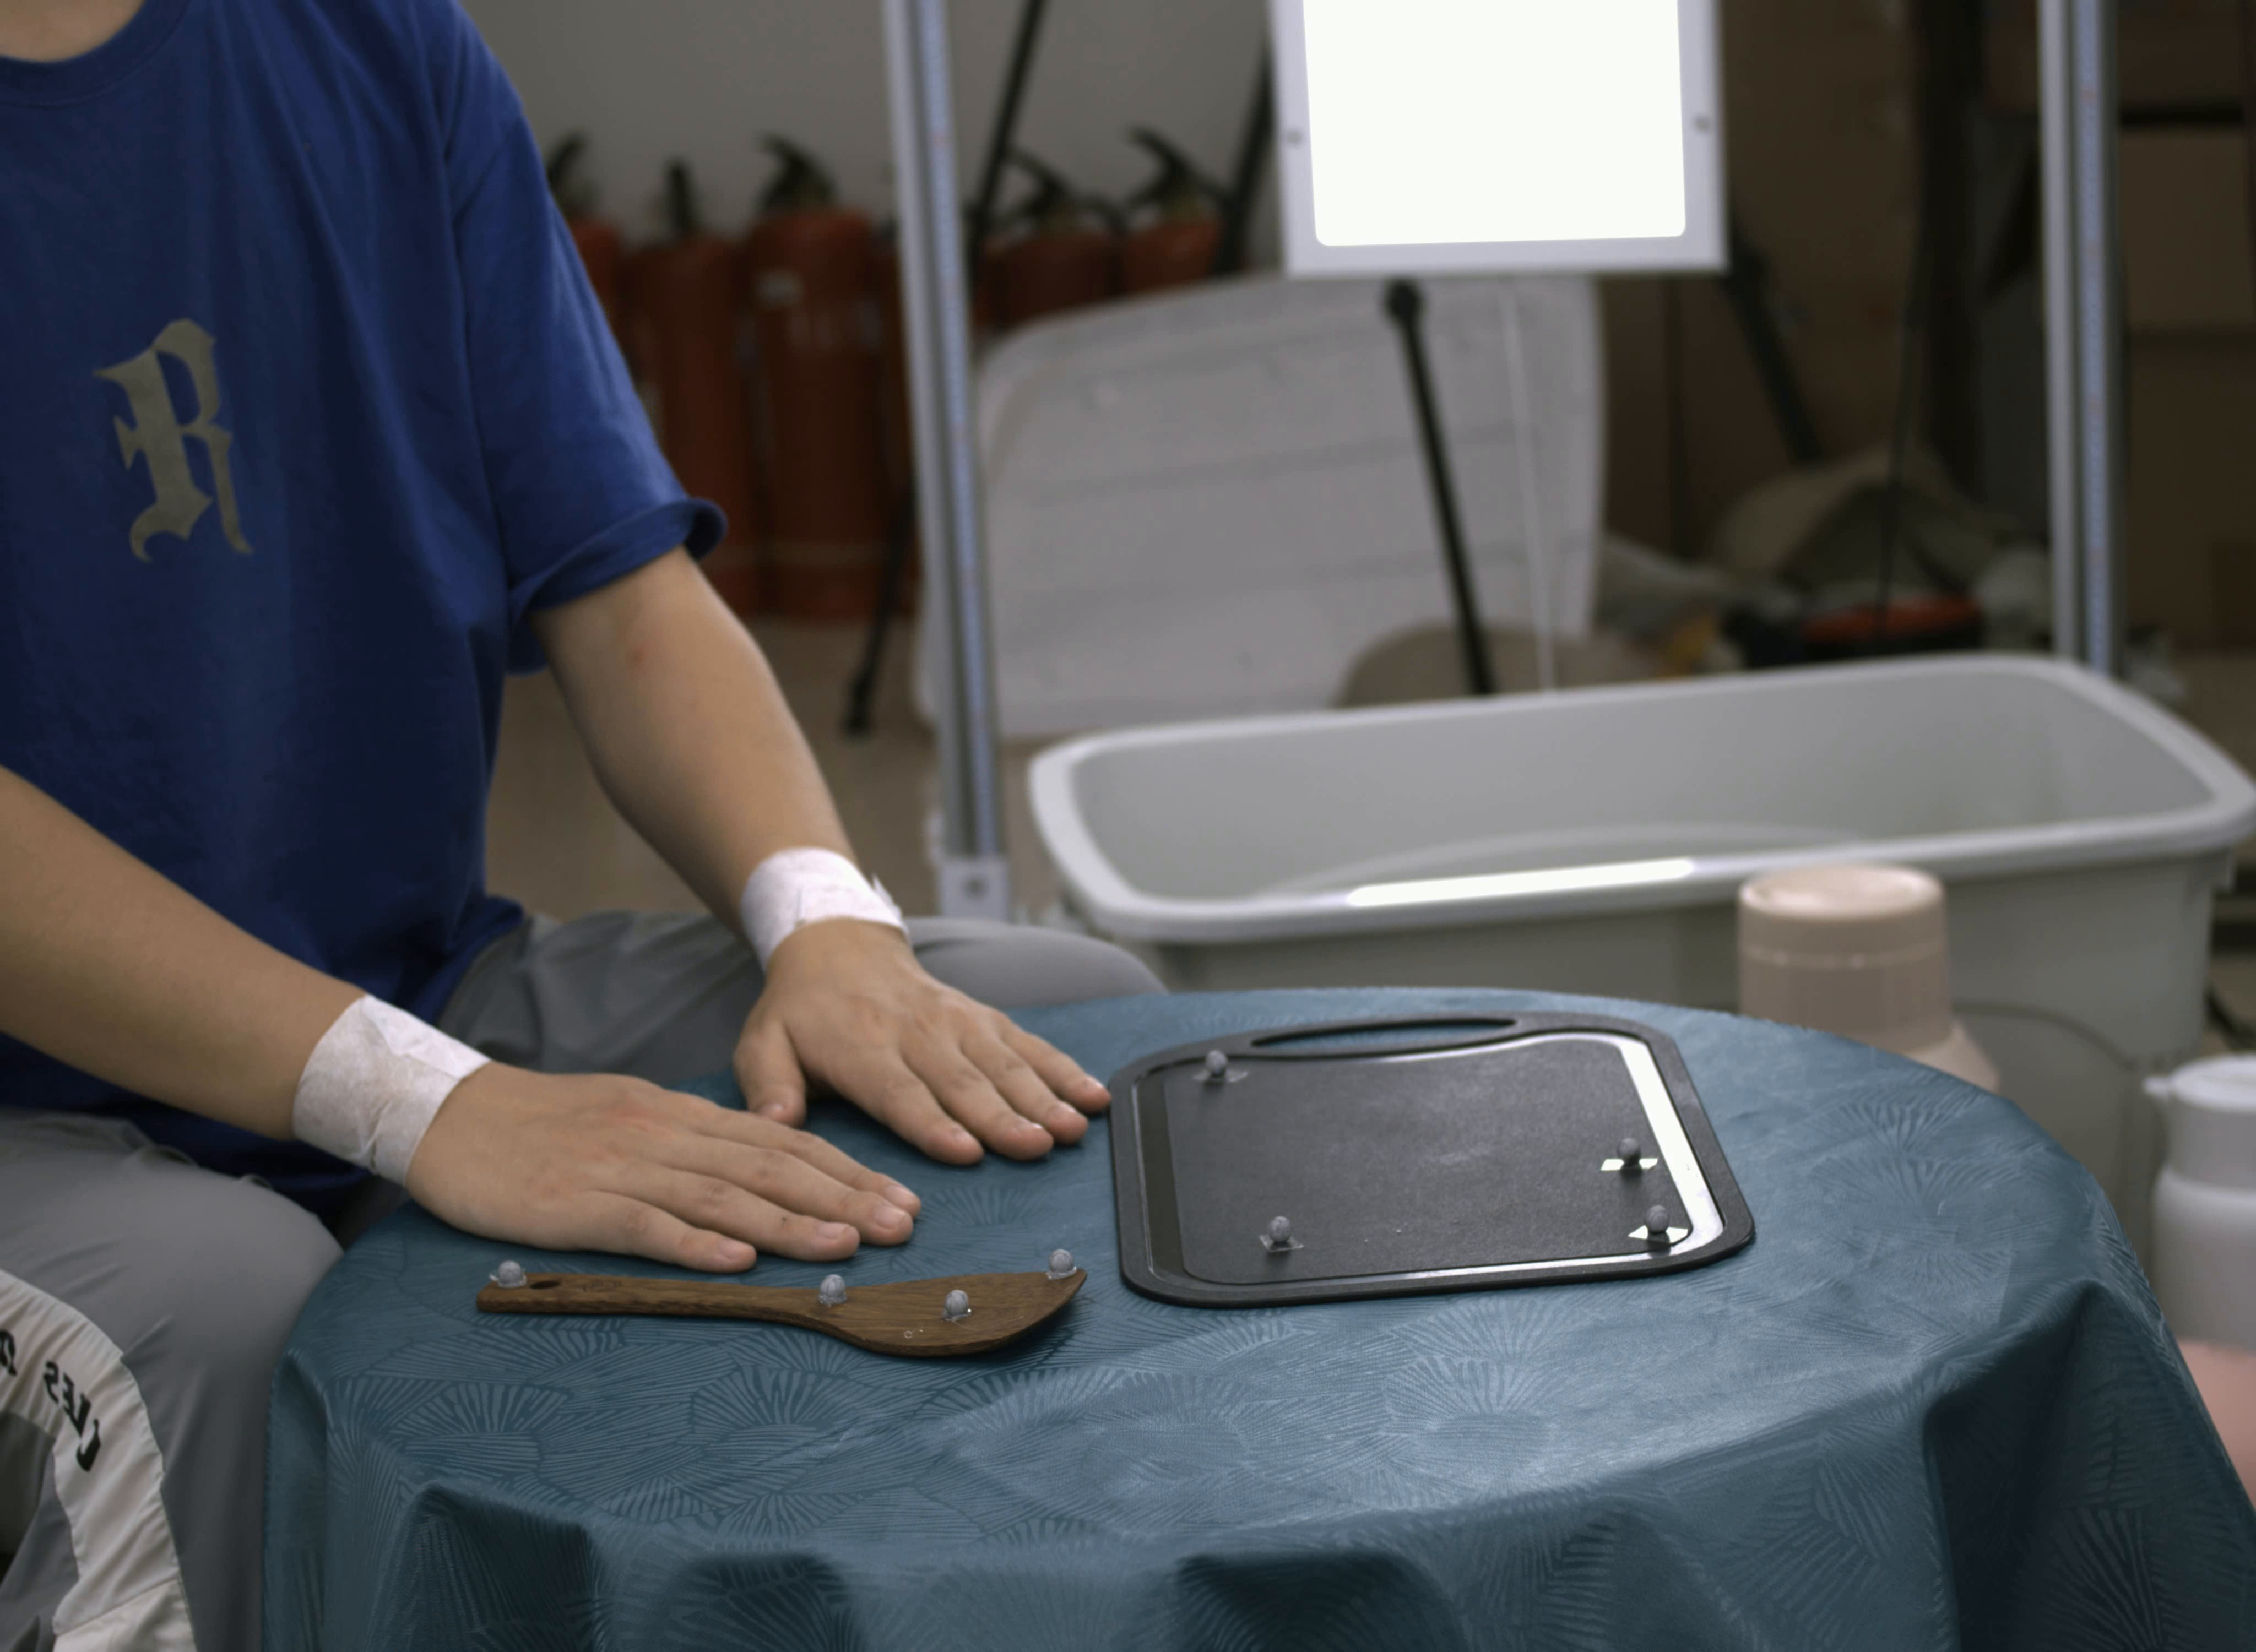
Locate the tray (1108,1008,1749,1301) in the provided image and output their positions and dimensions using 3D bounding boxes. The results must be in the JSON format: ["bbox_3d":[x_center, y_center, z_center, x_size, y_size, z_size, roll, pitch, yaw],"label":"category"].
[{"bbox_3d":[0.098,0.108,1.920,0.211,0.010,0.324,-5,14,1],"label":"tray"}]

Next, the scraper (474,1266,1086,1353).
[{"bbox_3d":[-0.118,0.155,1.804,0.214,0.011,0.074,0,14,25],"label":"scraper"}]
